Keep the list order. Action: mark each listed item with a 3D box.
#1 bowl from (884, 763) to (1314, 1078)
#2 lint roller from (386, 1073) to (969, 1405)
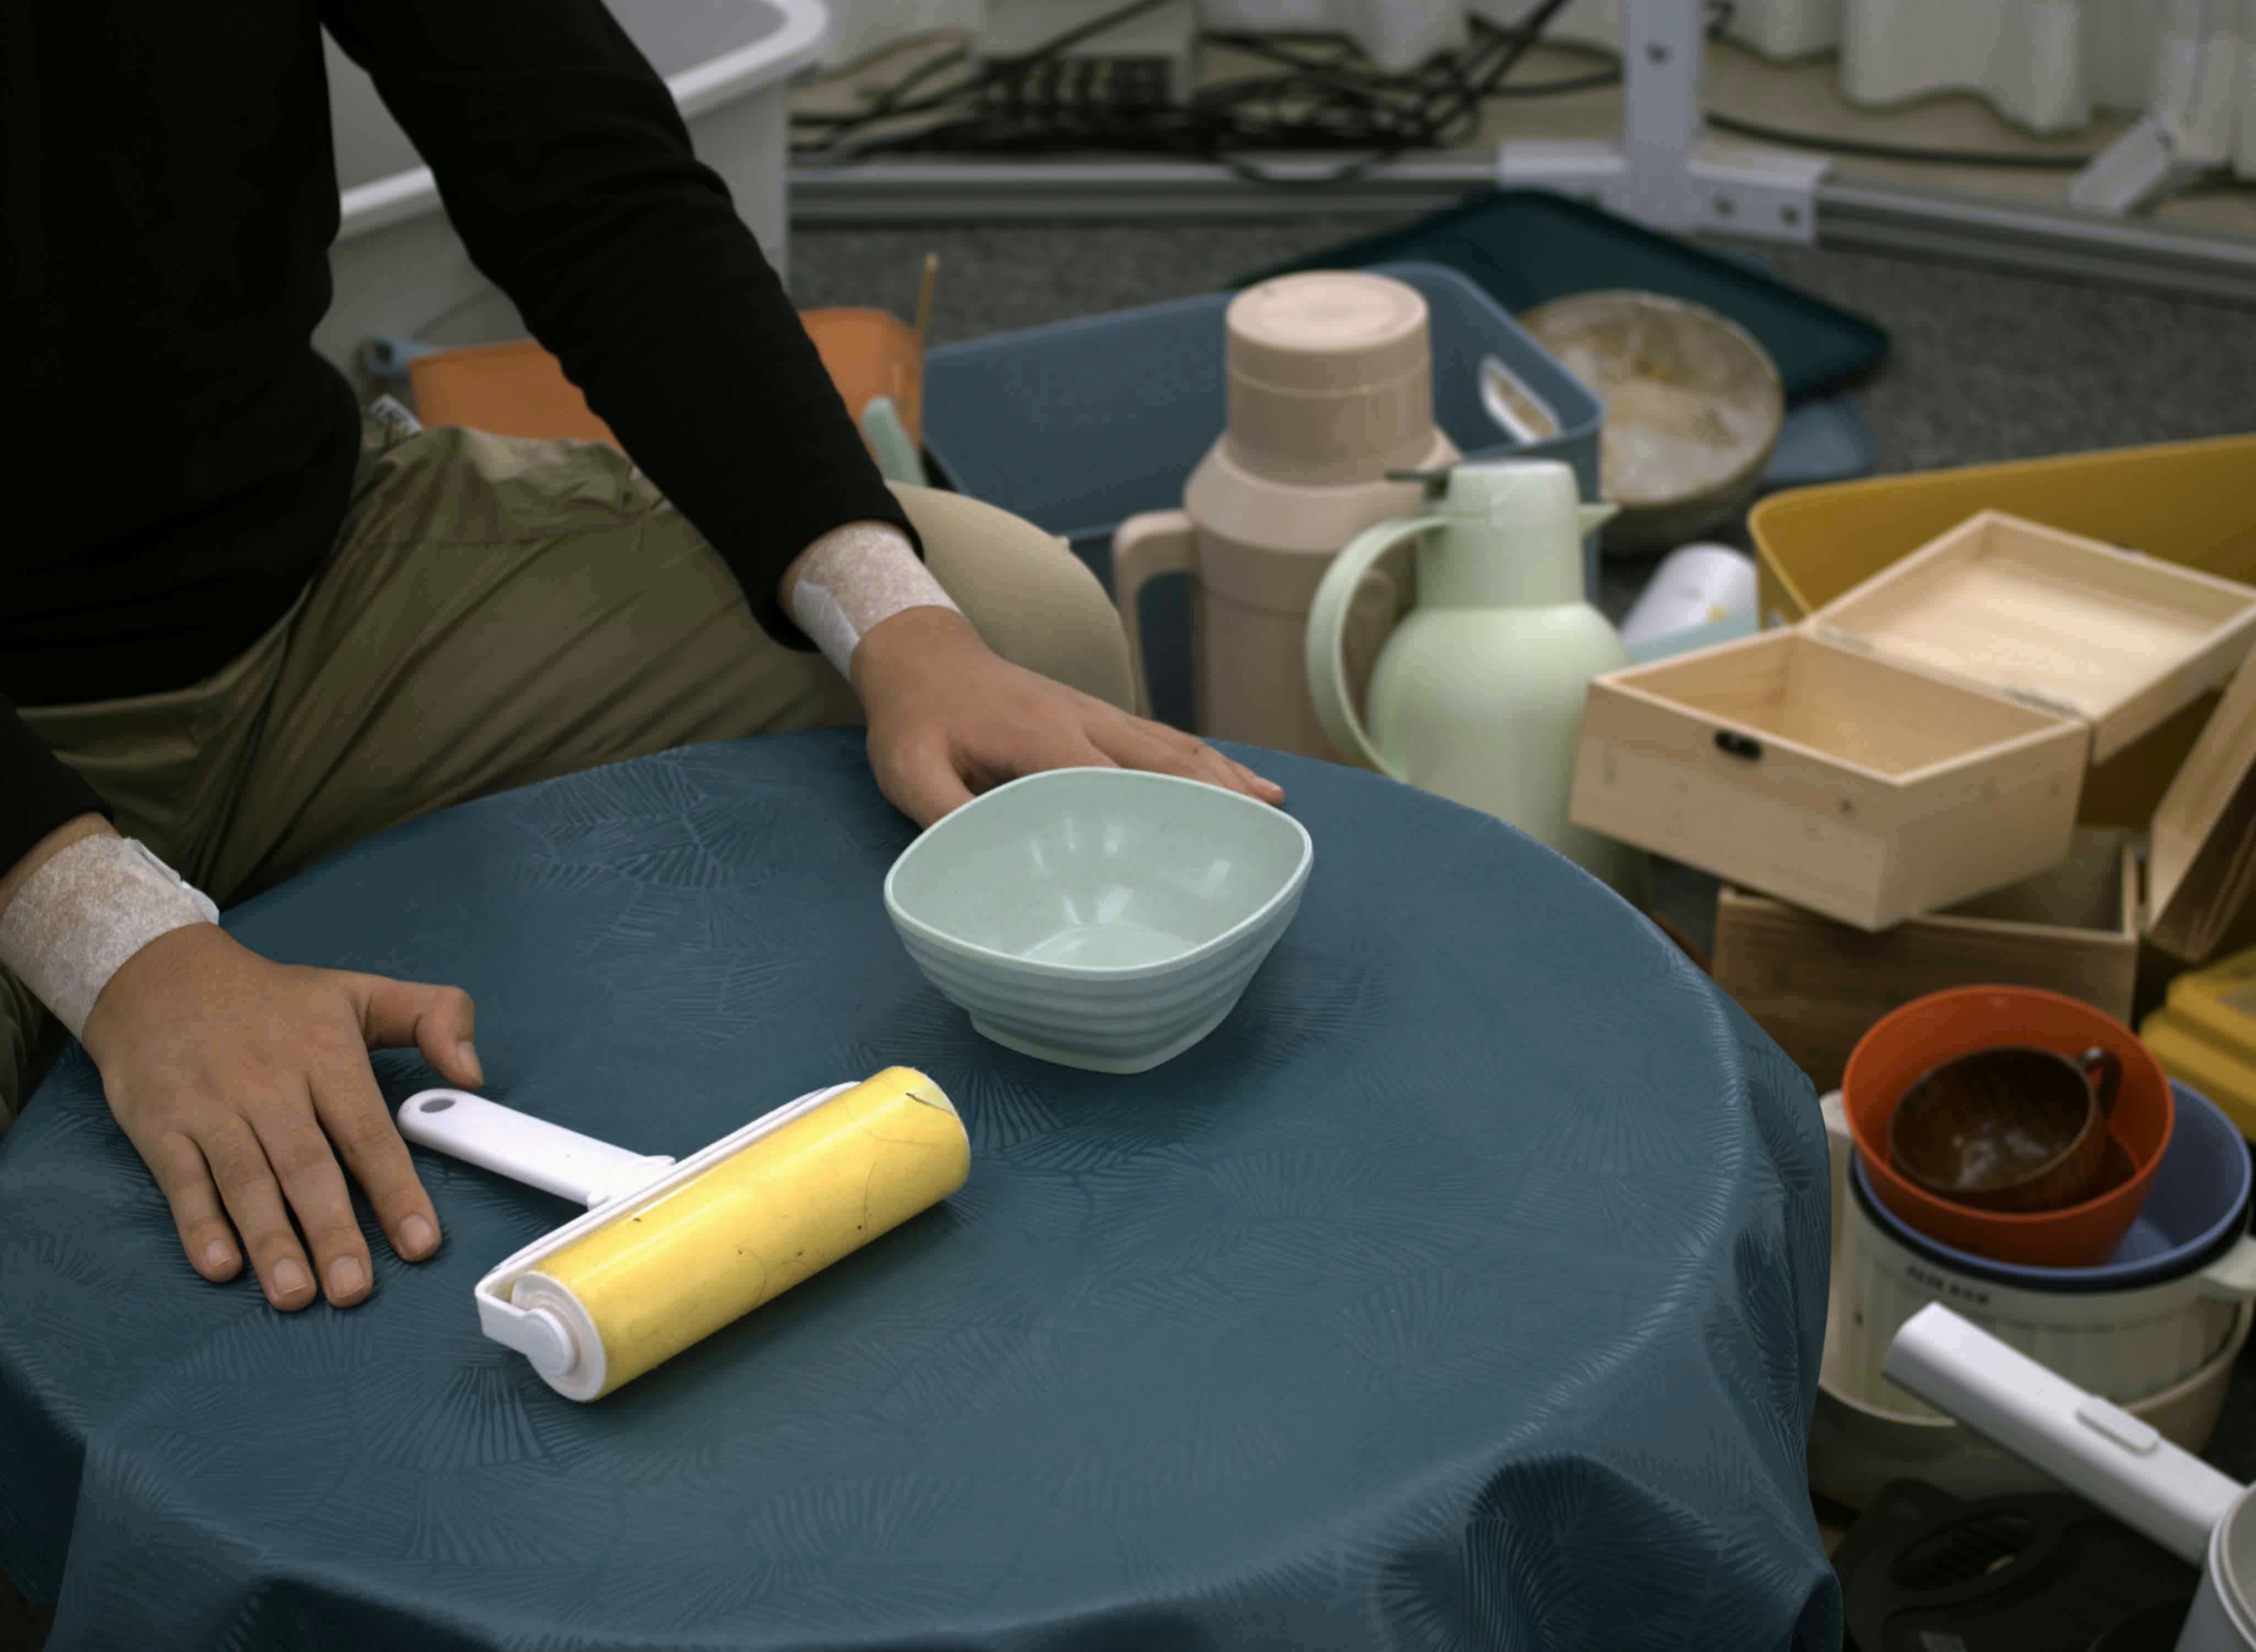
[{"bbox_3d":[-0.009,0.039,1.961,0.151,0.058,0.154,-1,29,1],"label":"bowl"},{"bbox_3d":[-0.176,0.109,1.847,0.192,0.051,0.176,25,37,35],"label":"lint roller"}]
